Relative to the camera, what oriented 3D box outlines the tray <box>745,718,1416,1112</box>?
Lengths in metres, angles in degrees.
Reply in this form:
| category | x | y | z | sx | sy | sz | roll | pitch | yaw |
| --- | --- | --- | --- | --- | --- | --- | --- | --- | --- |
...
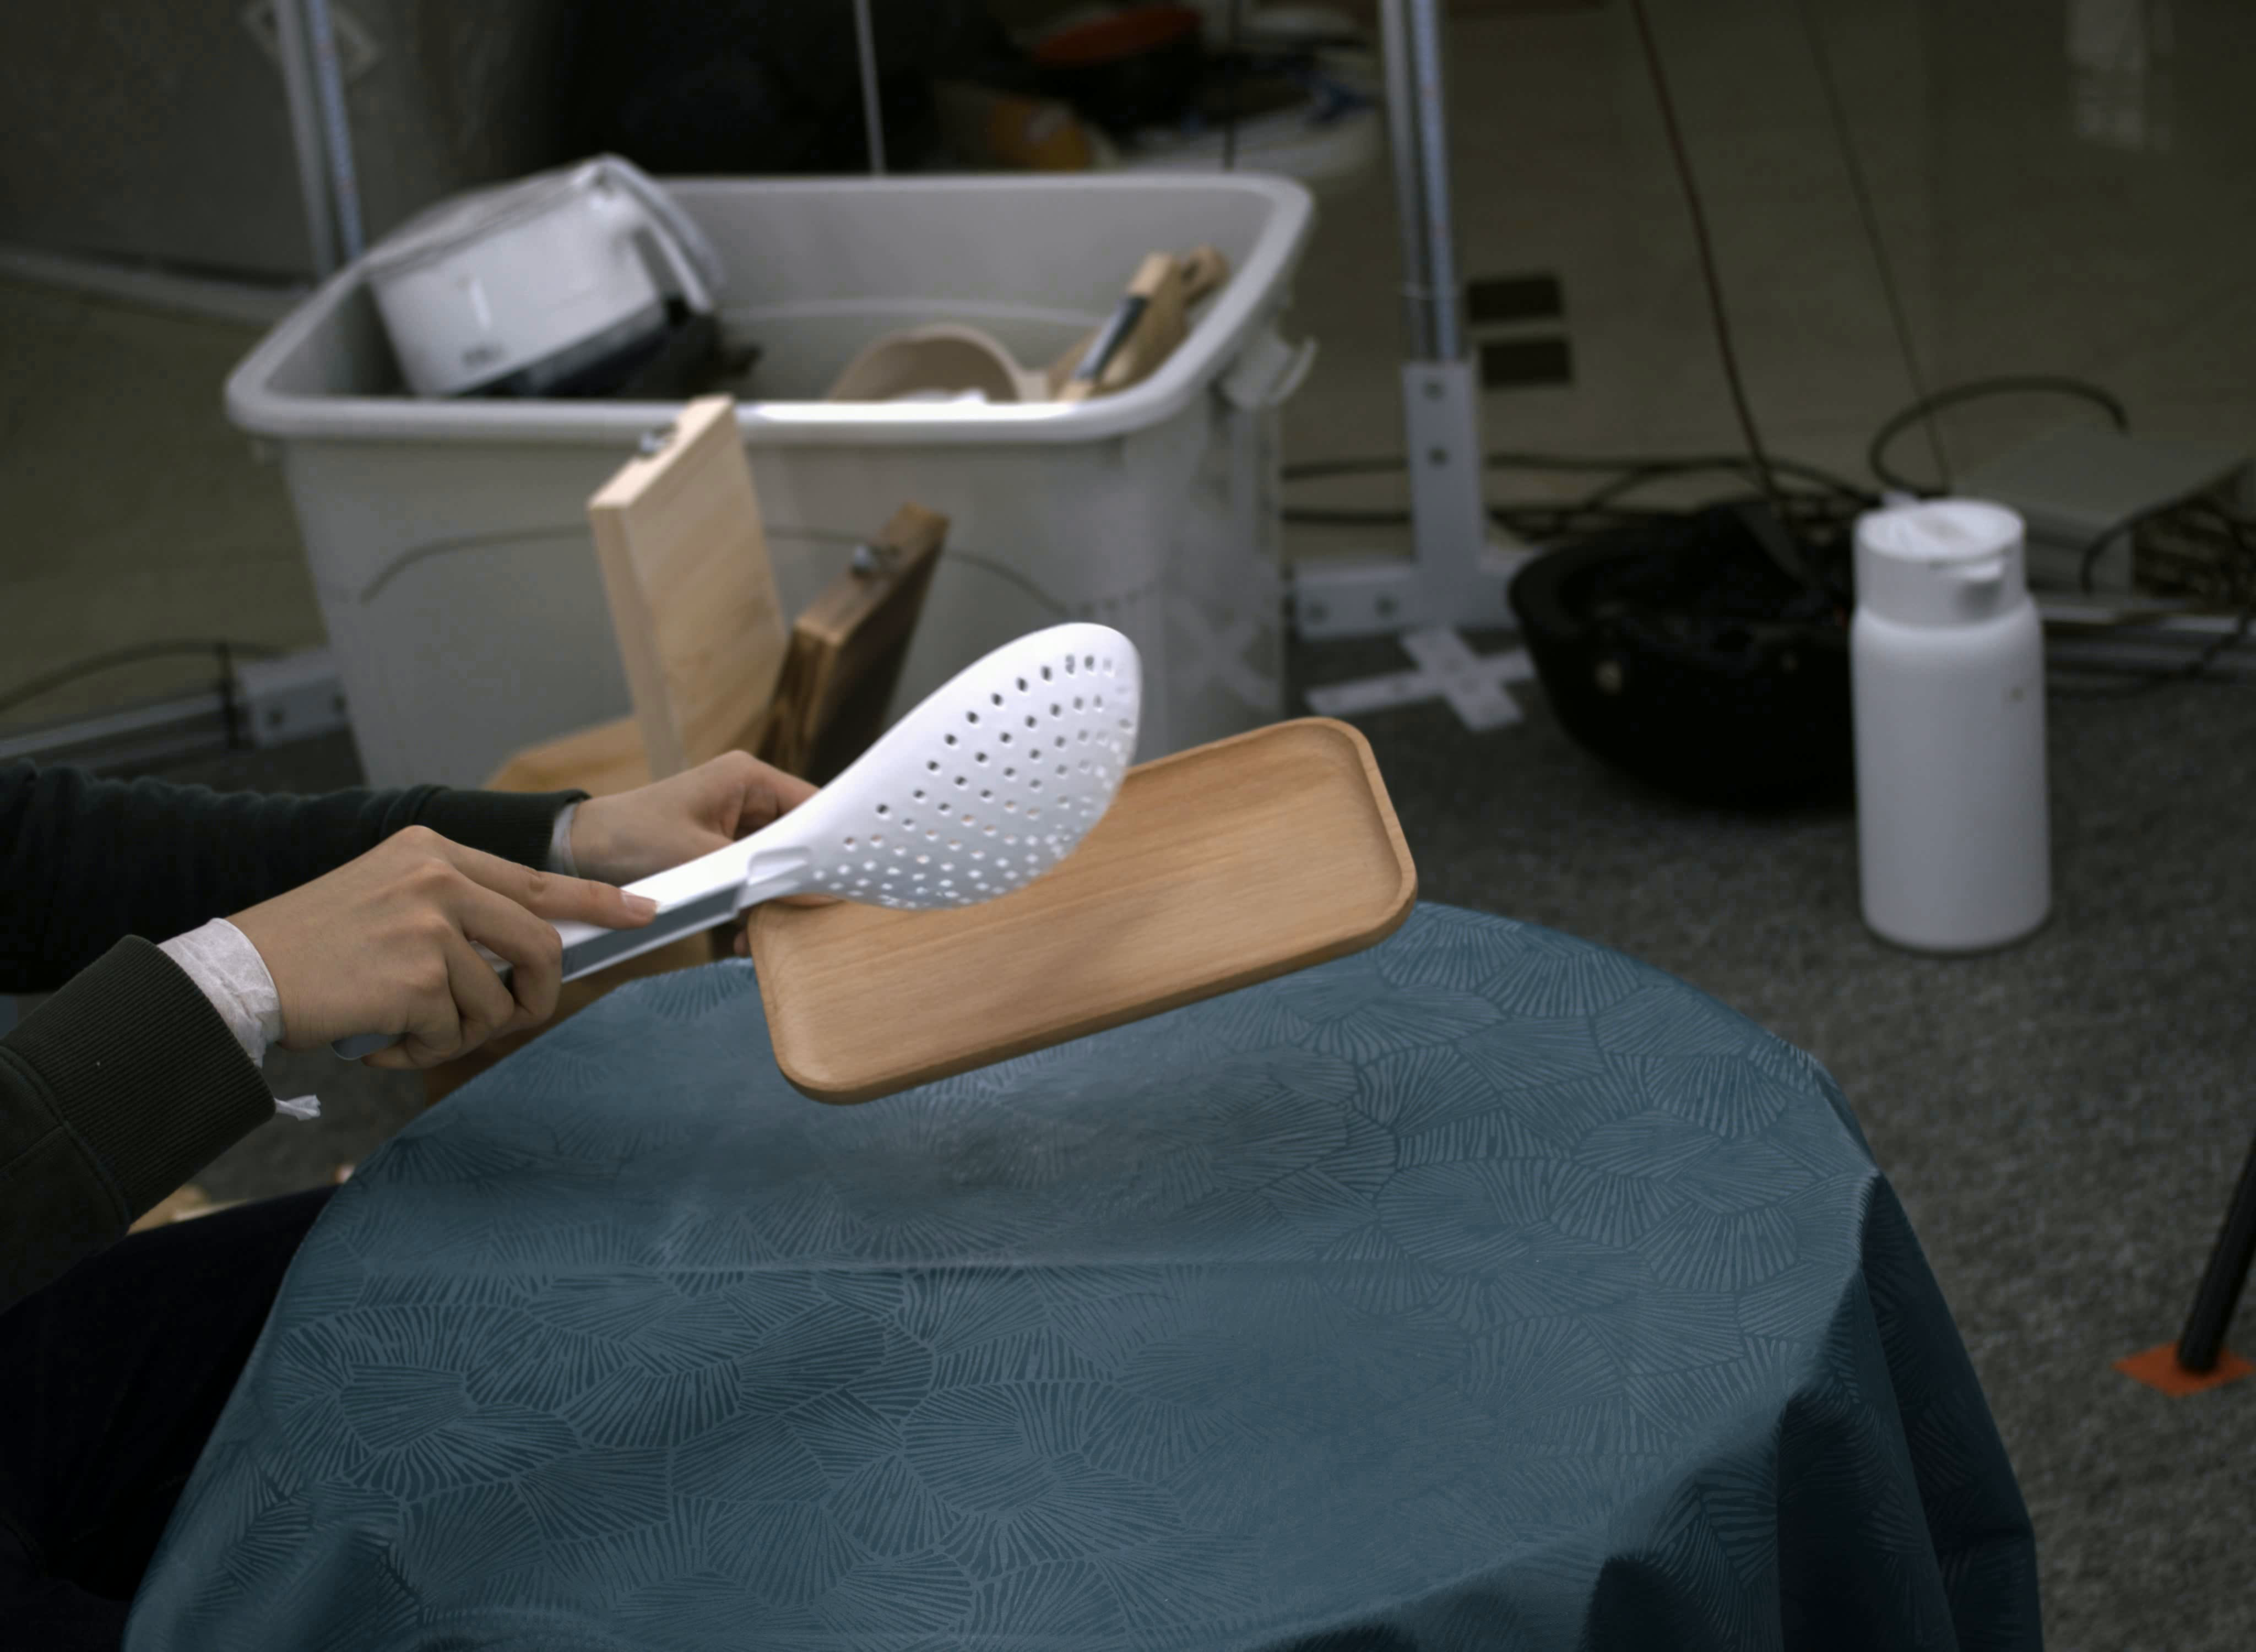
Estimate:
| category | x | y | z | sx | sy | sz | roll | pitch | yaw |
| --- | --- | --- | --- | --- | --- | --- | --- | --- | --- |
| tray | -0.019 | 0.034 | 2.149 | 0.250 | 0.023 | 0.128 | -17 | 41 | 1 |

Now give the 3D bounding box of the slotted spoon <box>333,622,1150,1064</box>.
| category | x | y | z | sx | sy | sz | roll | pitch | yaw |
| --- | --- | --- | --- | --- | --- | --- | --- | --- | --- |
| slotted spoon | -0.127 | 0.016 | 1.981 | 0.348 | 0.138 | 0.045 | -17 | 53 | -31 |
